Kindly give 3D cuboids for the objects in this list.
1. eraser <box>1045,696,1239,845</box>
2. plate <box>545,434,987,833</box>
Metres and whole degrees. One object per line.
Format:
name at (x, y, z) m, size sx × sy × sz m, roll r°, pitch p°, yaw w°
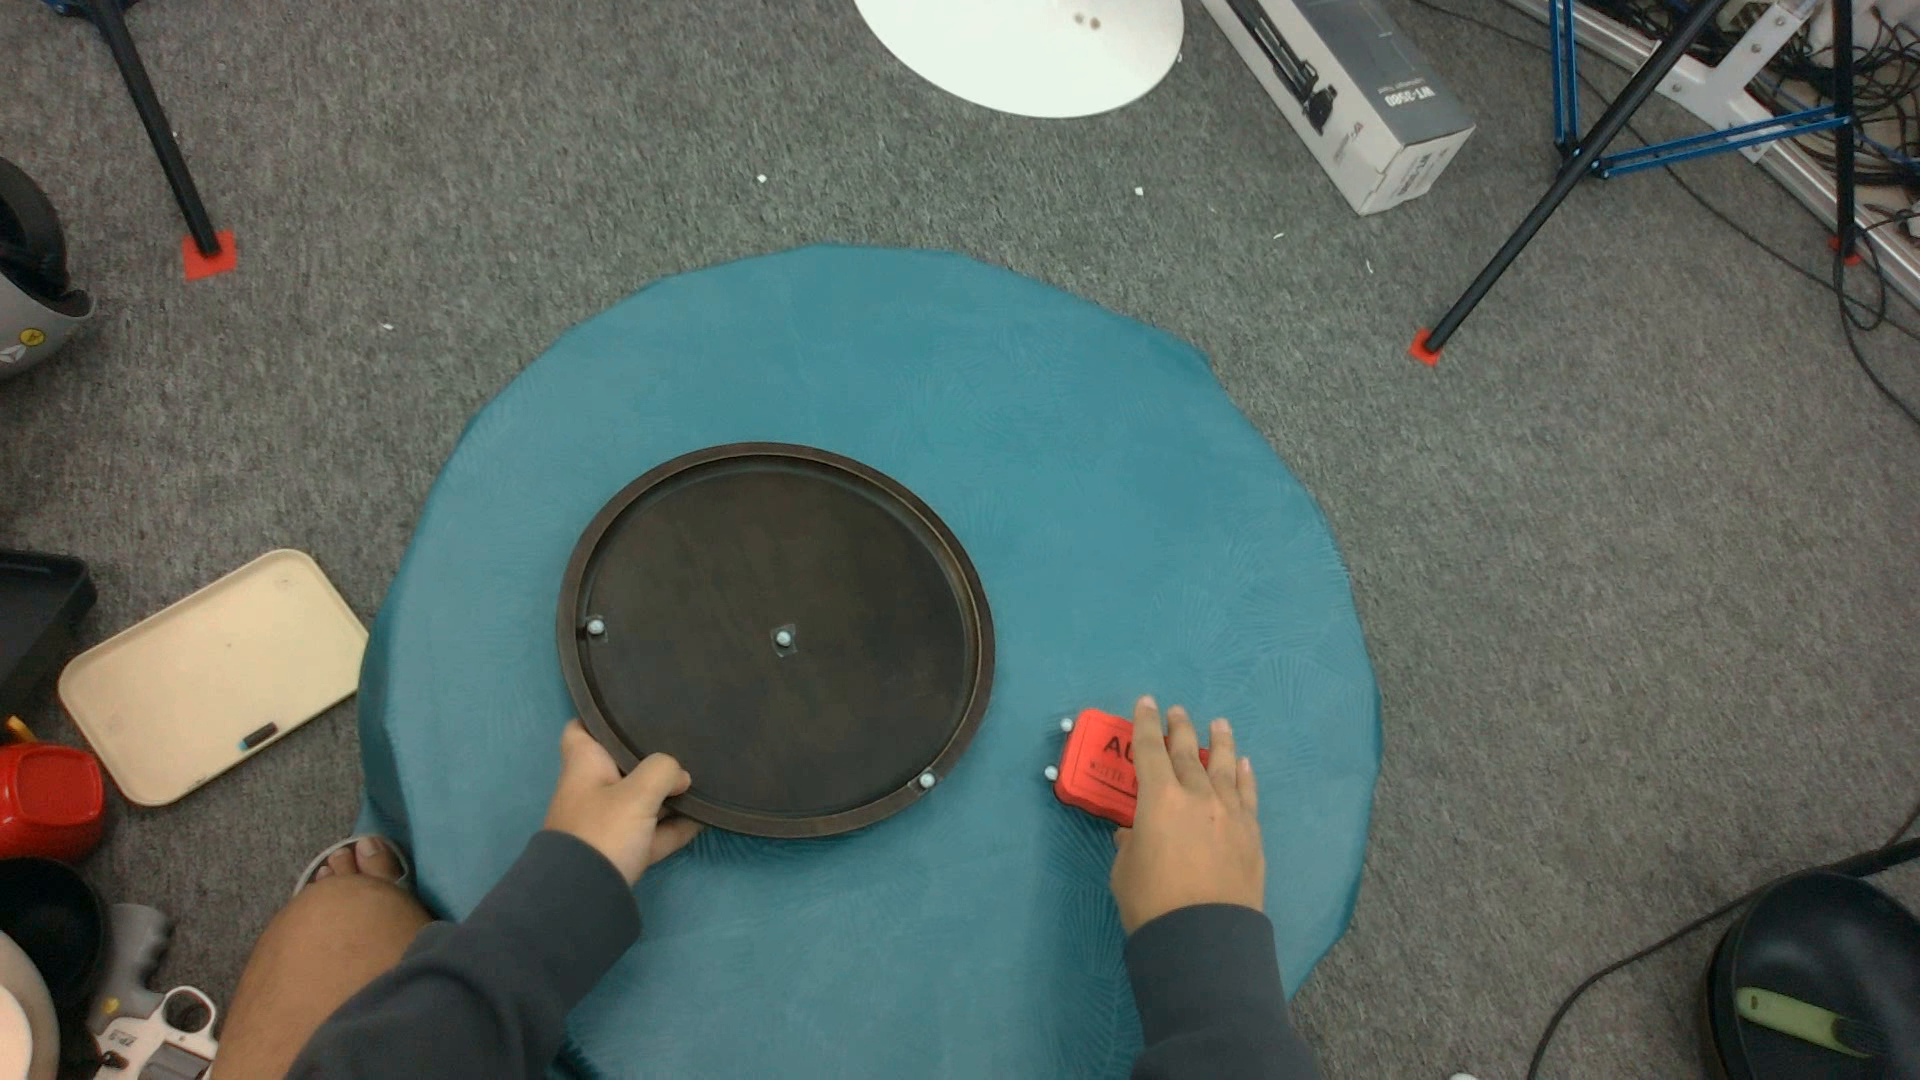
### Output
eraser at (0.107, 0.135, 0.807) m, size 0.108 × 0.023 × 0.059 m, roll 21°, pitch 60°, yaw -5°
plate at (-0.107, 0.048, 0.793) m, size 0.255 × 0.029 × 0.256 m, roll 10°, pitch 58°, yaw -16°
